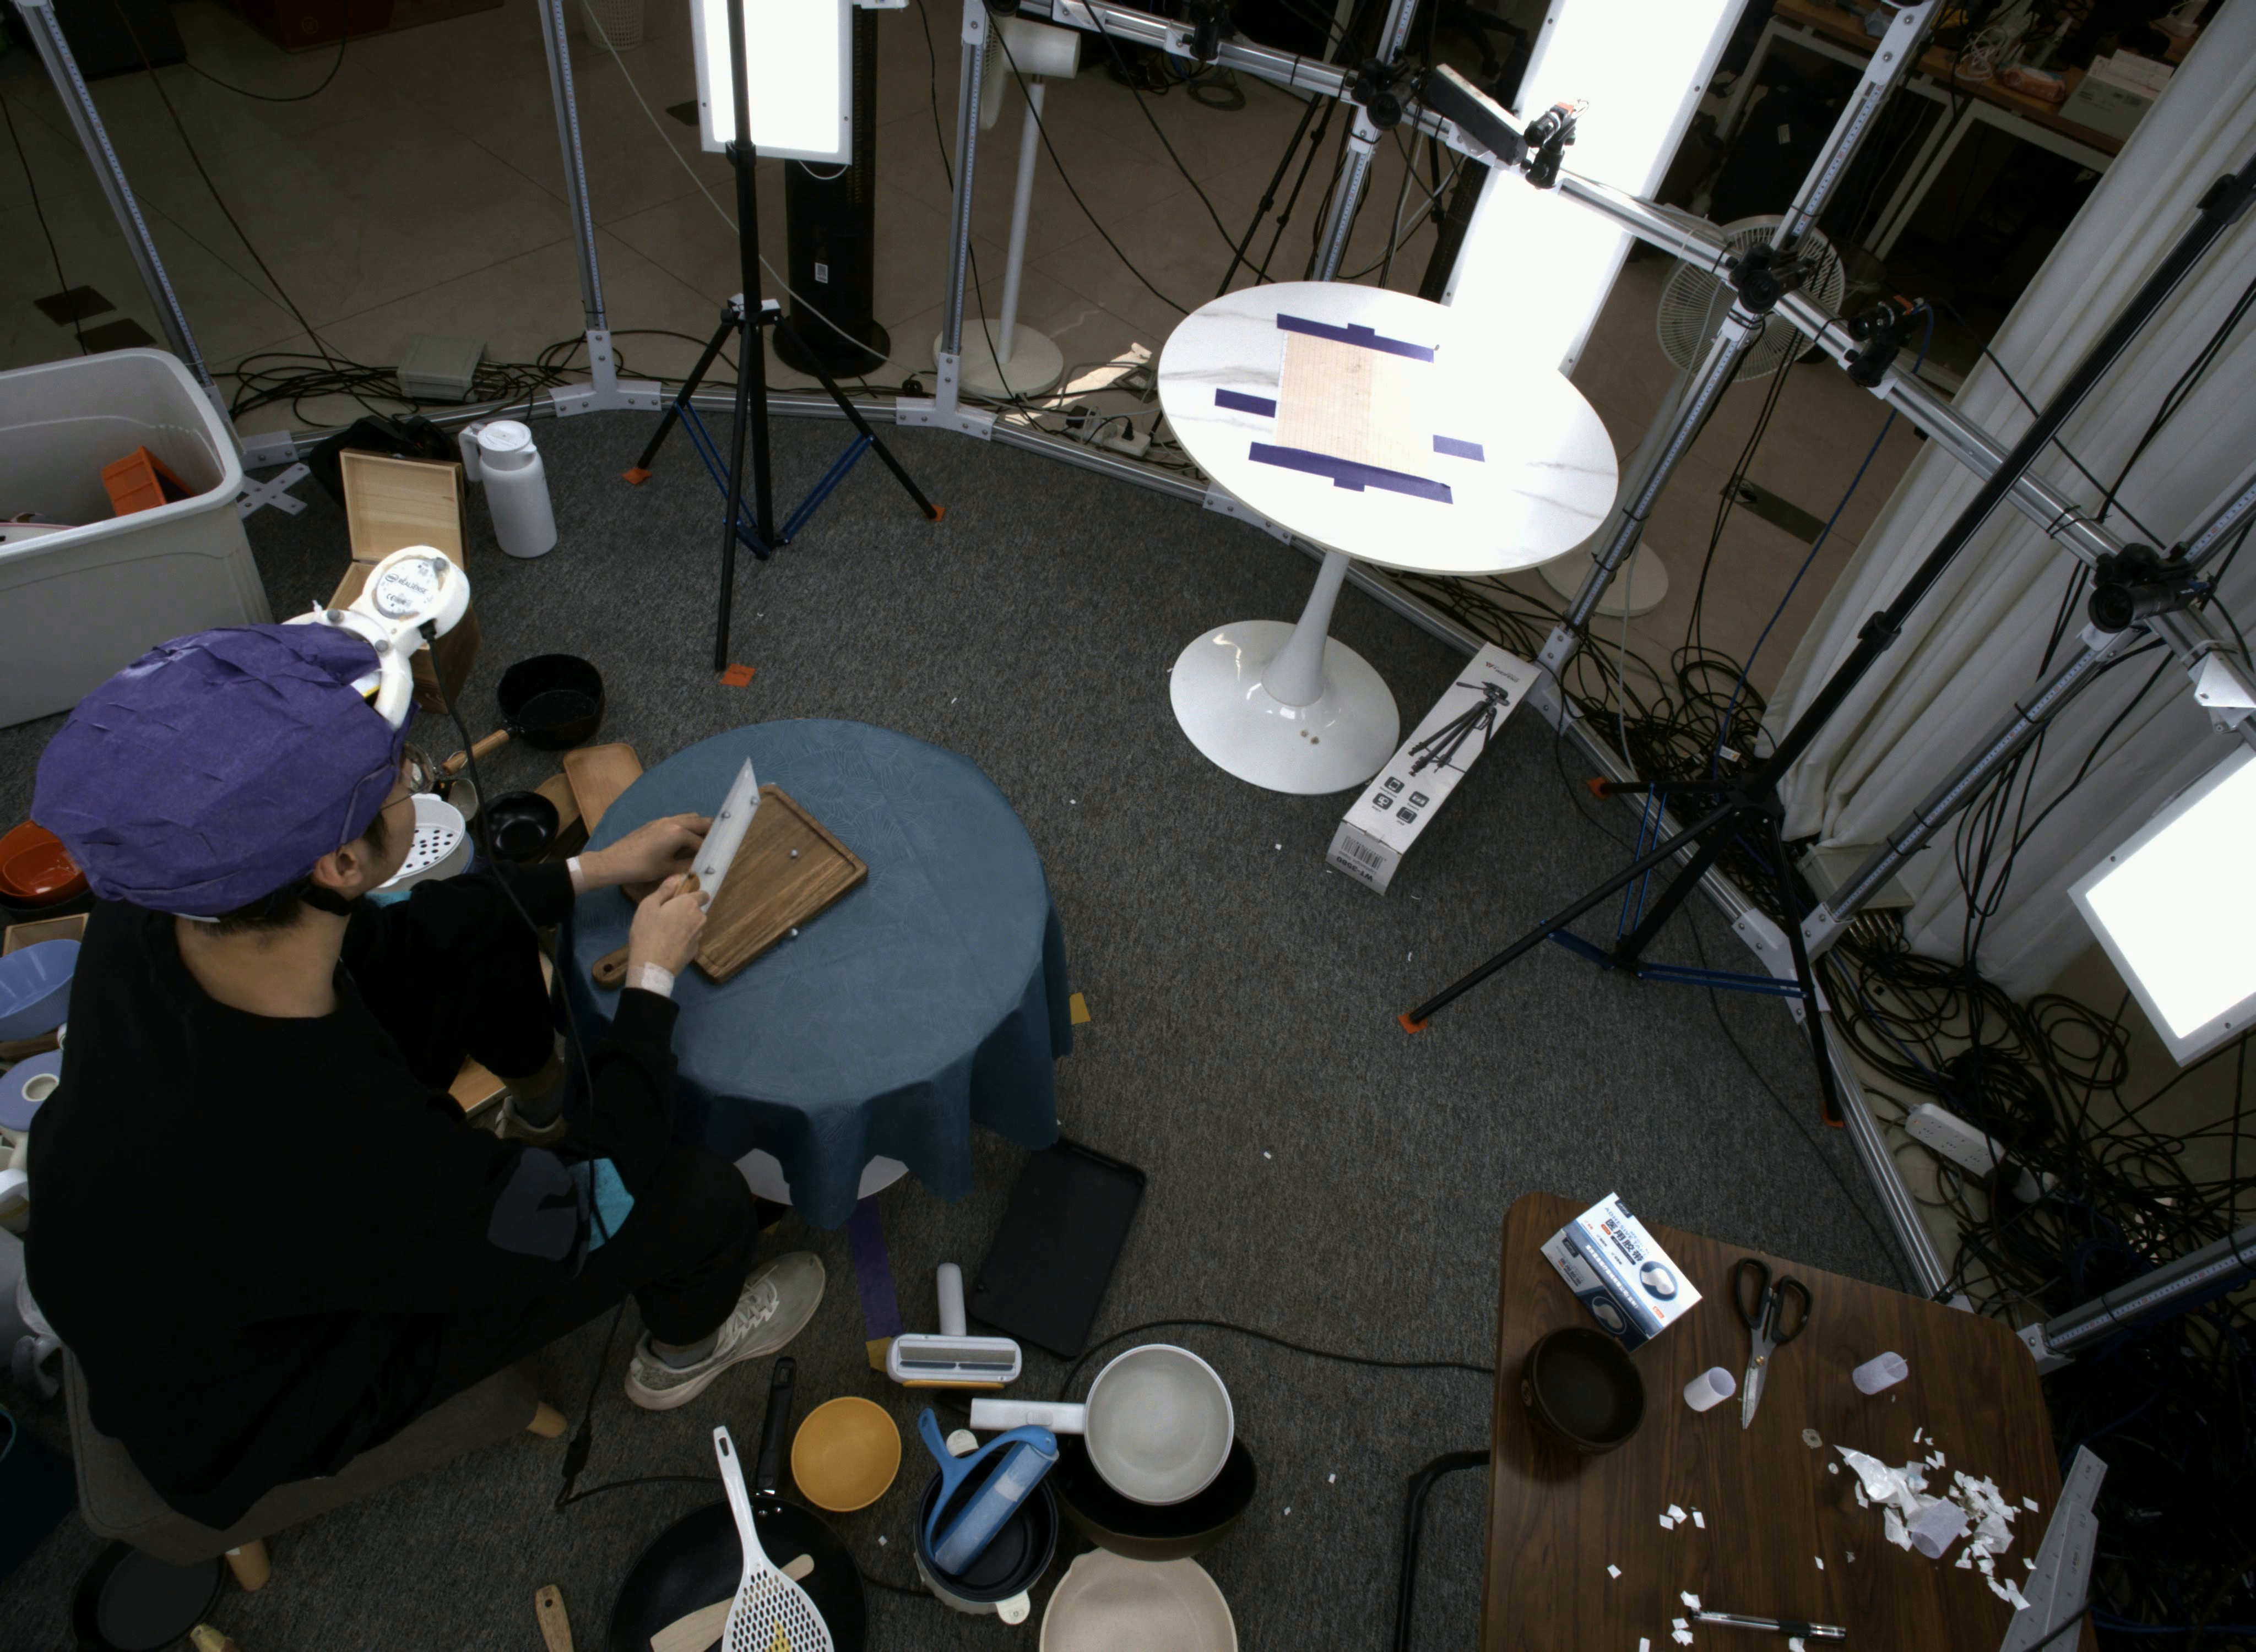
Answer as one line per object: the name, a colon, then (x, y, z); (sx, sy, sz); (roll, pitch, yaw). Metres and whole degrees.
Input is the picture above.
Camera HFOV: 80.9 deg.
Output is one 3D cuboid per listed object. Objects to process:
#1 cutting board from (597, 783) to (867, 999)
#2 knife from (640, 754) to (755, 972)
cutting board: (-0.518, 0.095, 1.609); (0.196, 0.024, 0.352); (38, 56, 16)
knife: (-0.499, 0.051, 1.518); (0.020, 0.095, 0.302); (10, 52, 5)
